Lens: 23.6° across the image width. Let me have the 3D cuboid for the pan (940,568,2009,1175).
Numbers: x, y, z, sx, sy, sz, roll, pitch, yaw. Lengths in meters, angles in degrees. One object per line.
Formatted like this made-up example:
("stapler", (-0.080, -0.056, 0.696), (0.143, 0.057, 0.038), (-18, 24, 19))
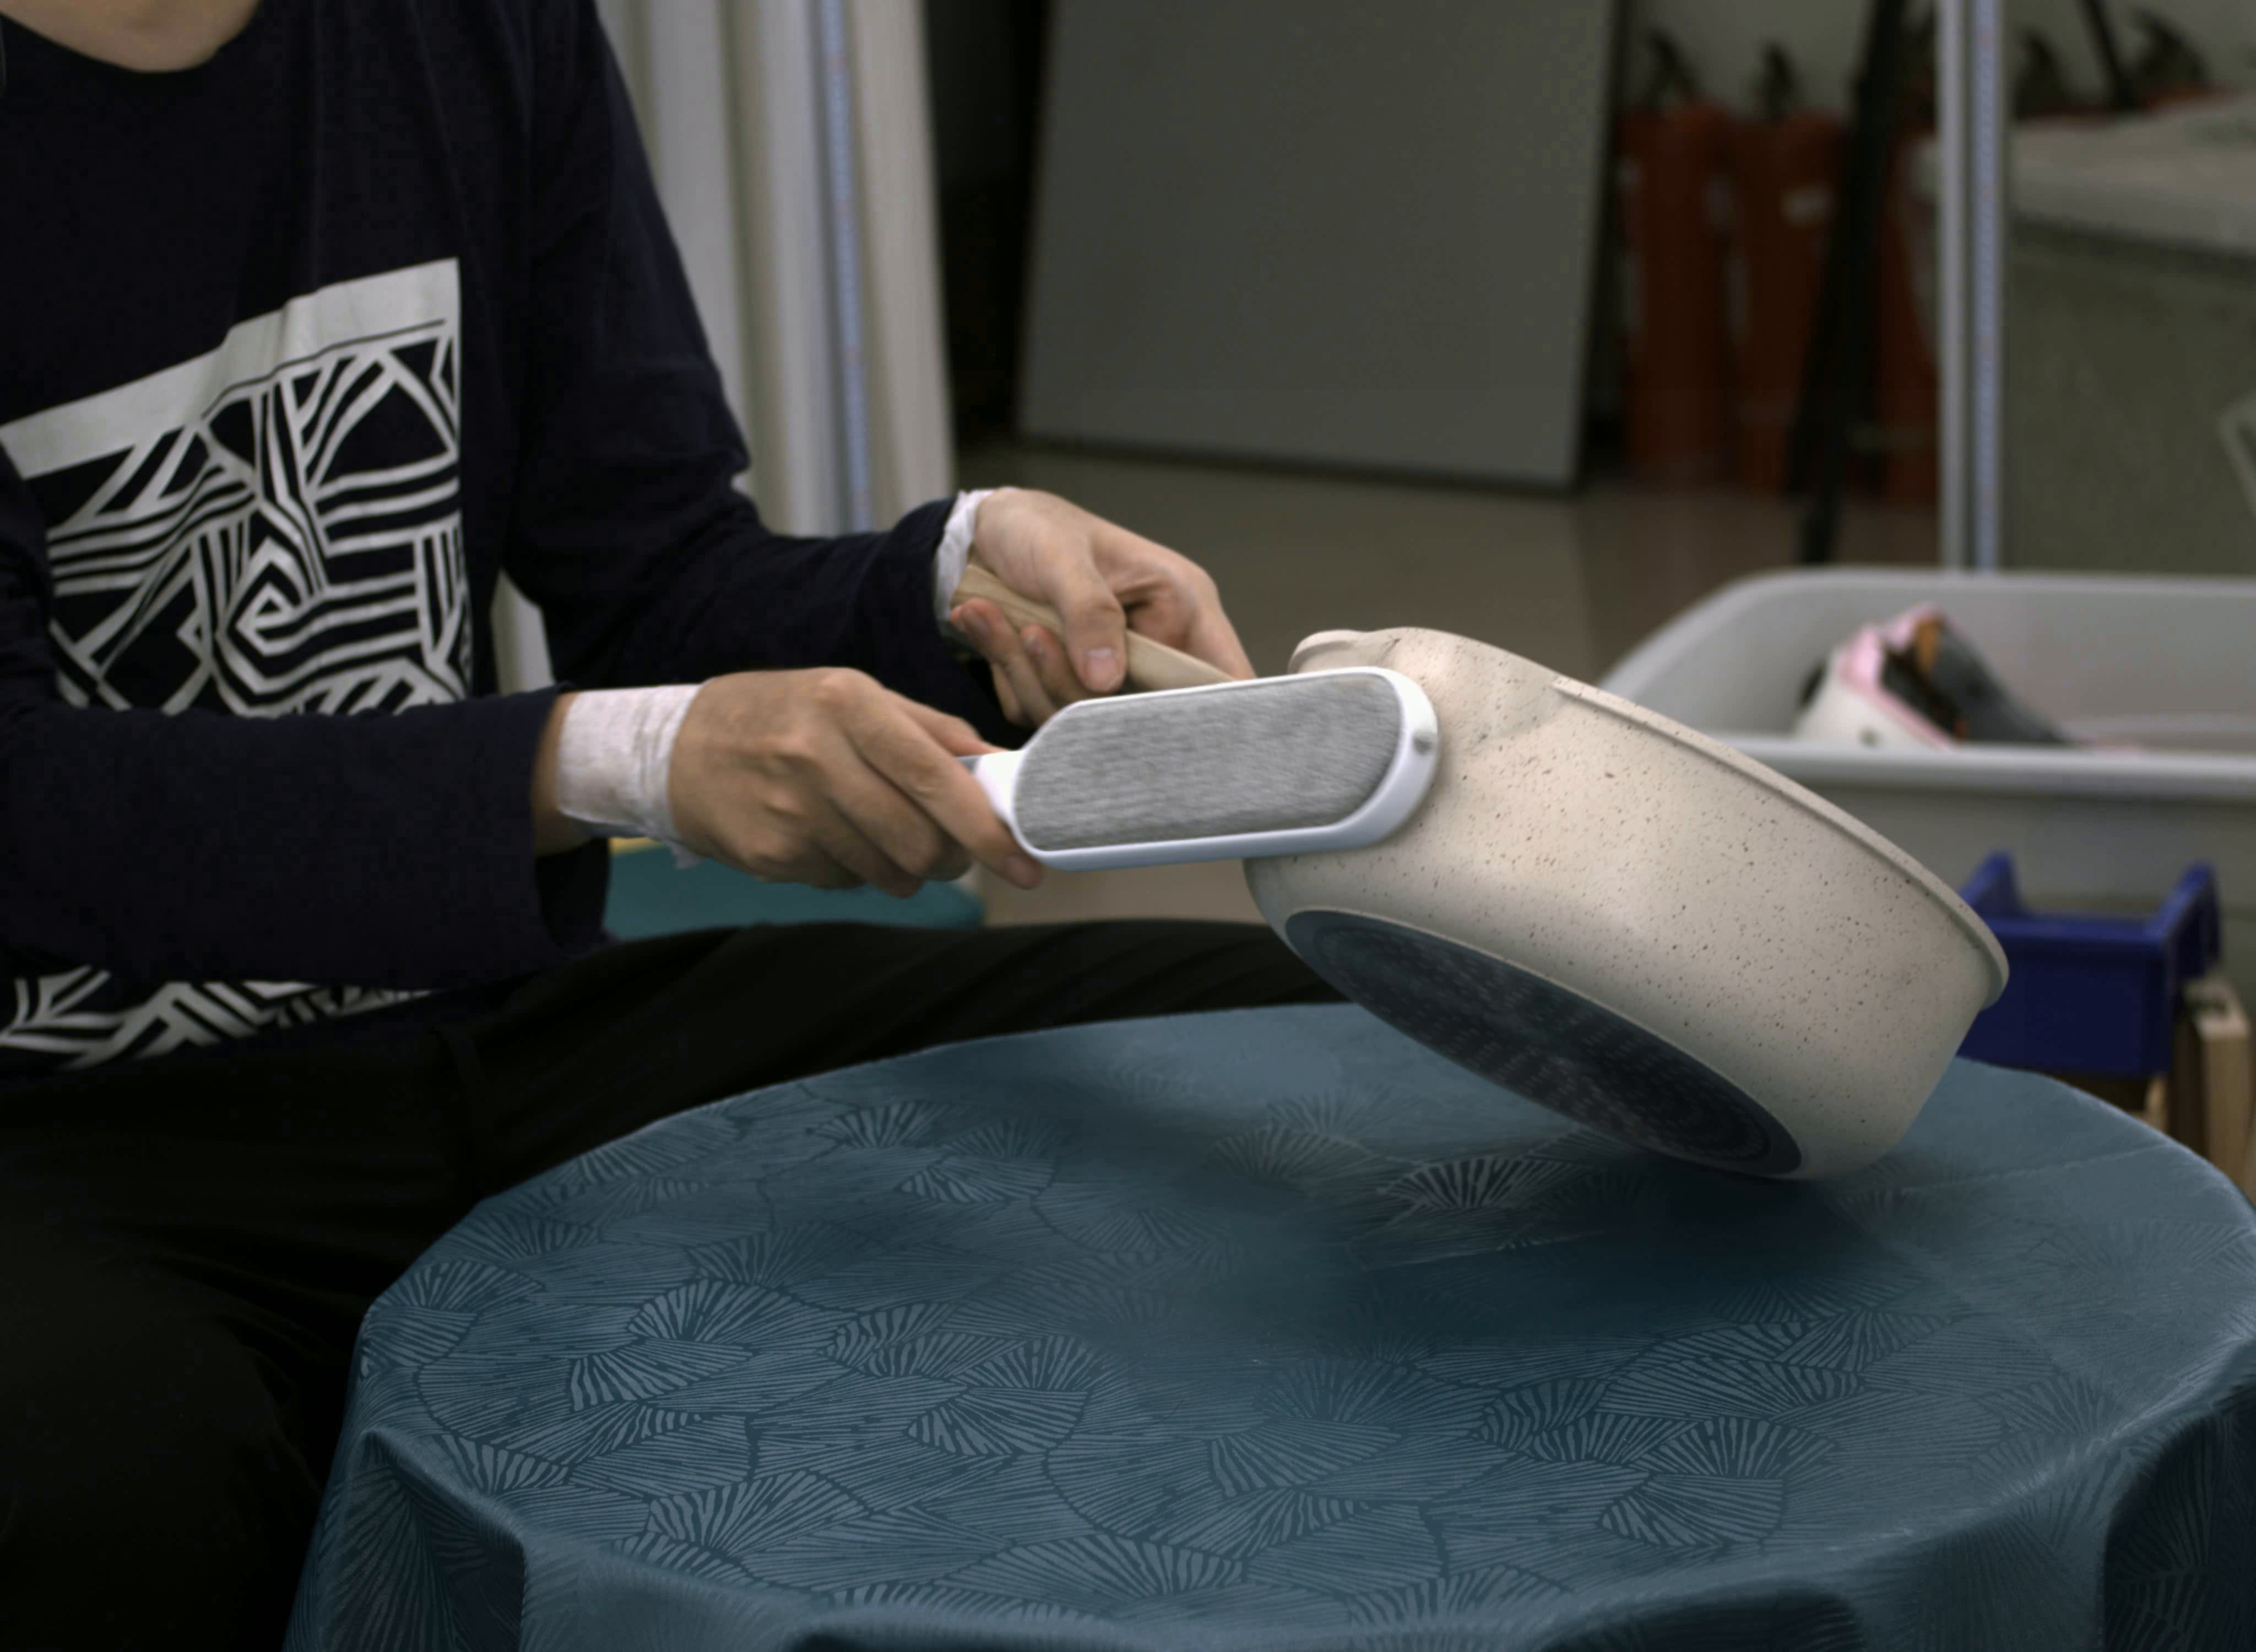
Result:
("pan", (0.083, 0.007, 1.768), (0.439, 0.102, 0.259), (17, -12, 40))

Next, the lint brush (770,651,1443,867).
("lint brush", (-0.013, -0.017, 1.705), (0.020, 0.061, 0.312), (22, -18, -38))
